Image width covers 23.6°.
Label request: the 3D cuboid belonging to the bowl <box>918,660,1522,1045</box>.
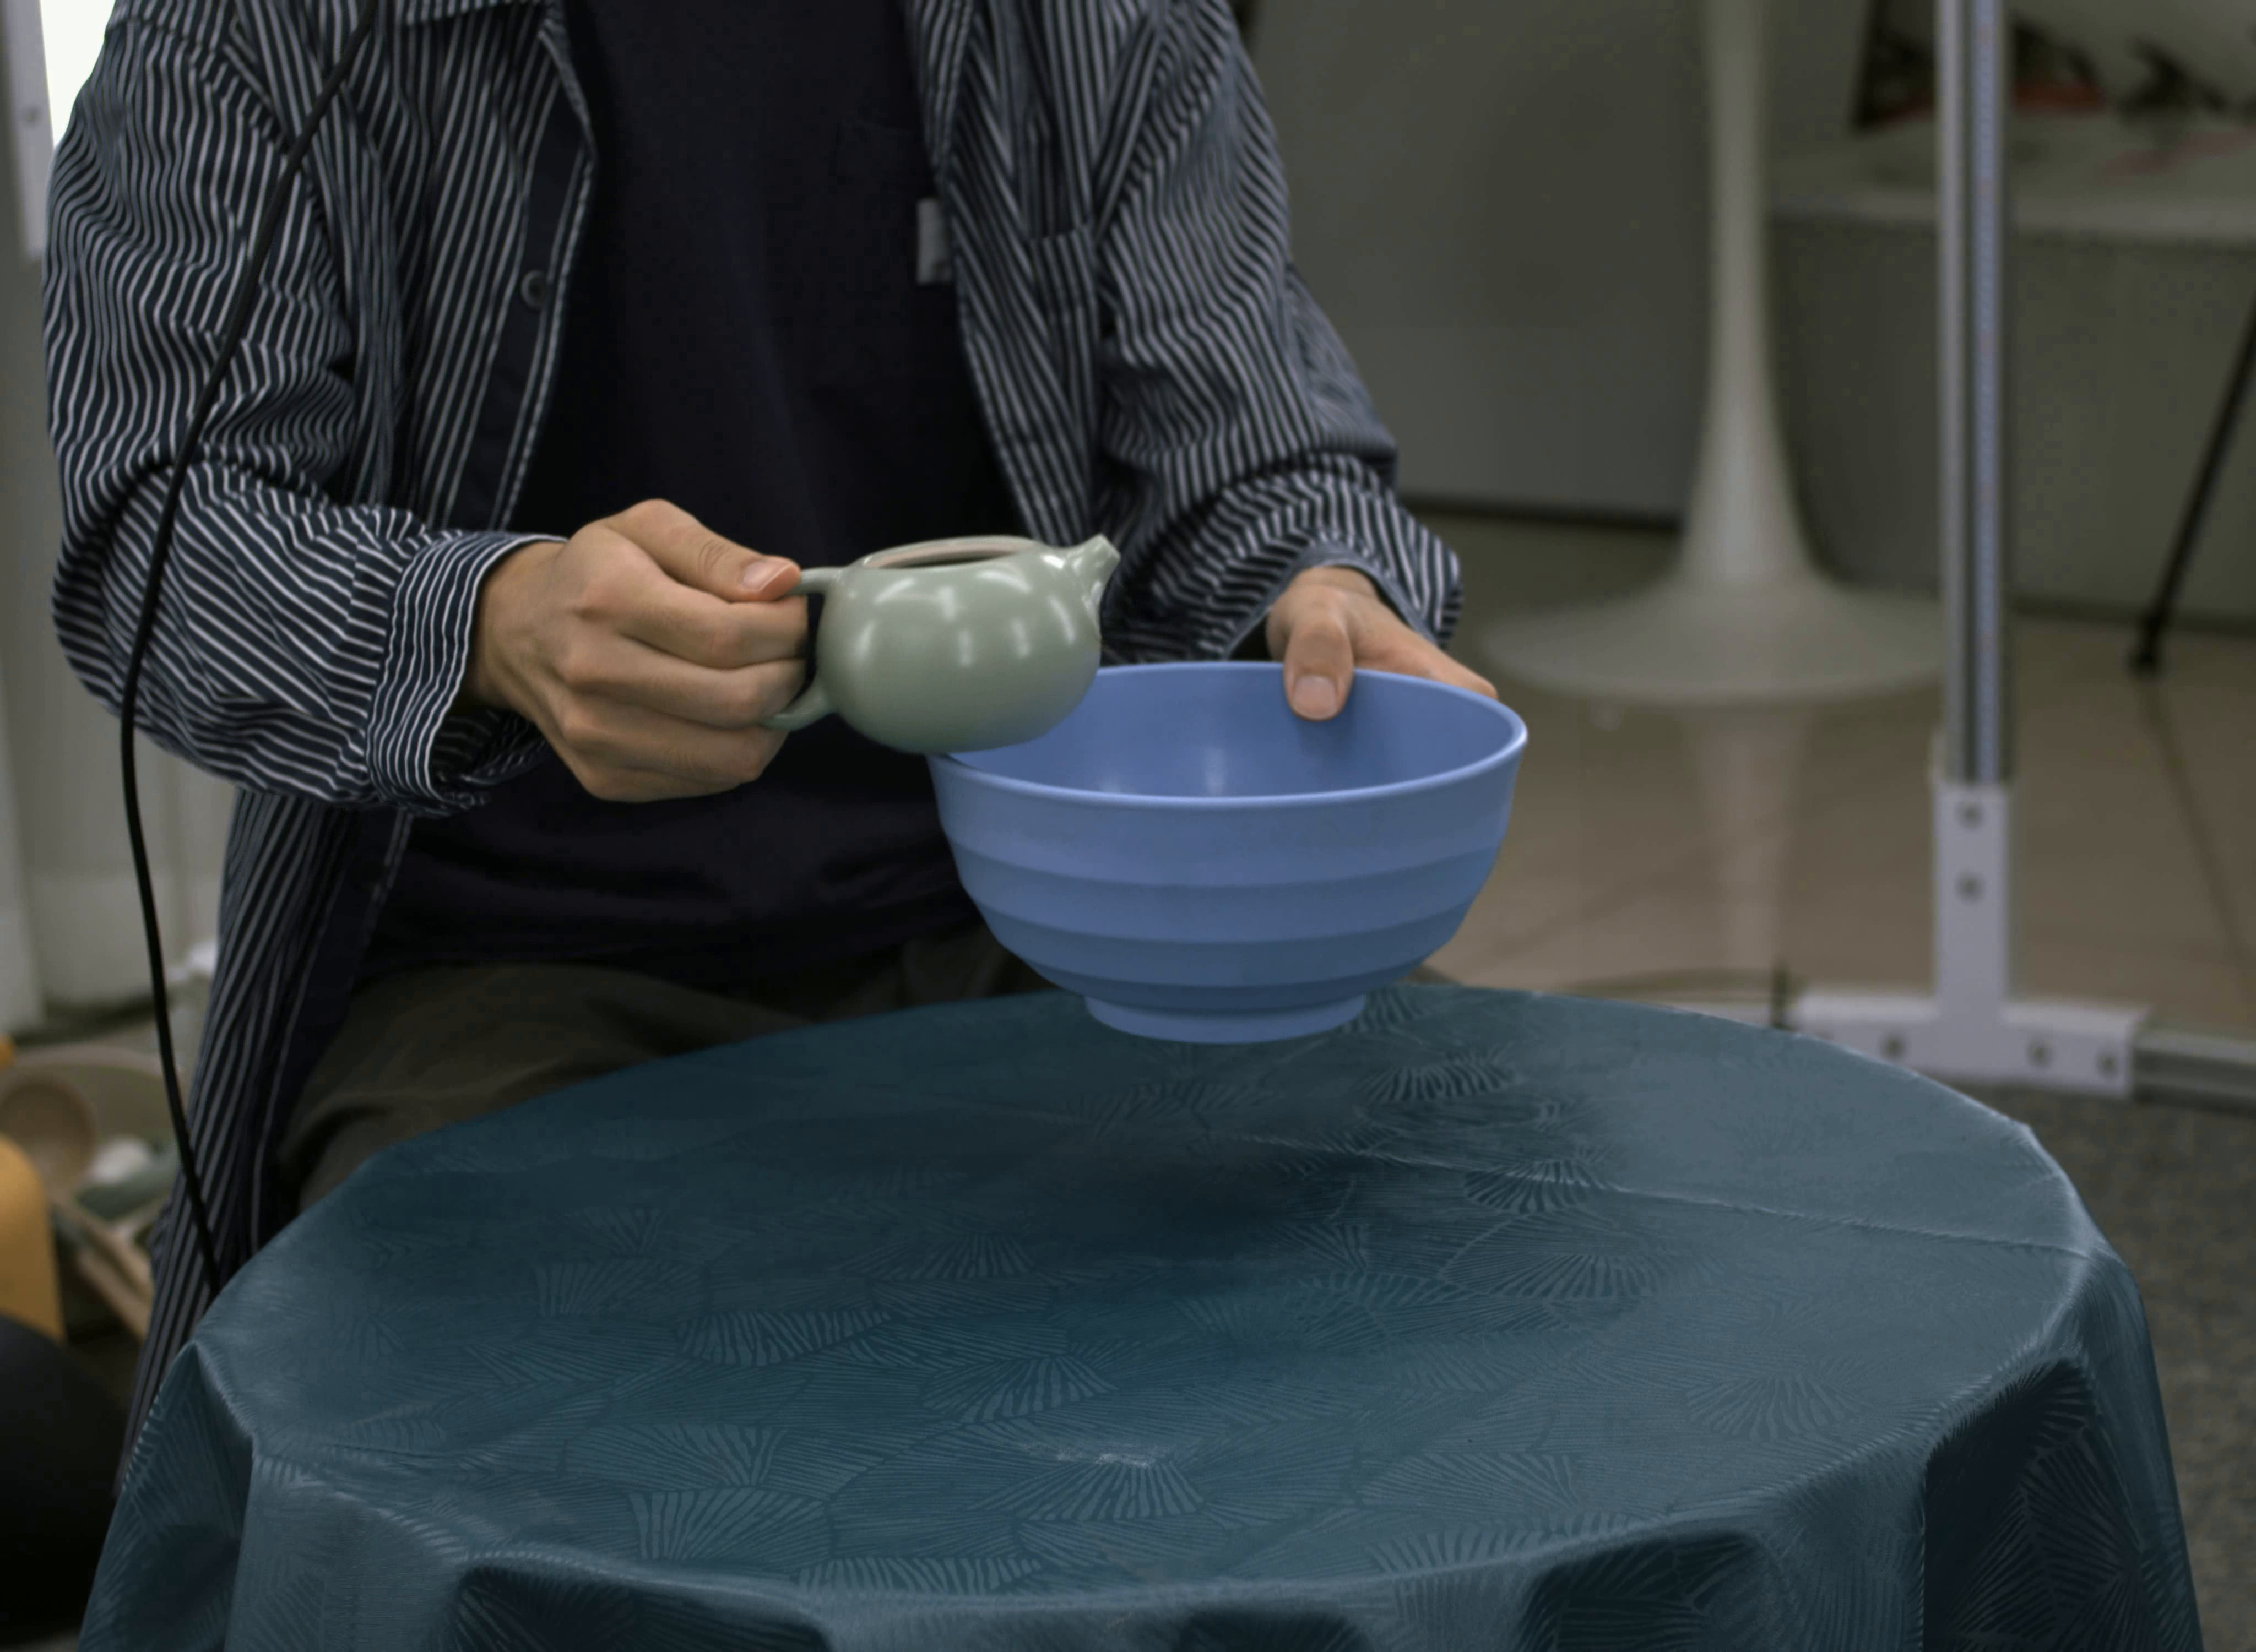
[{"bbox_3d":[0.030,0.012,1.740,0.194,0.096,0.197,-2,13,-1],"label":"bowl"}]

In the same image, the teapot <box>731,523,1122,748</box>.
[{"bbox_3d":[-0.062,-0.059,1.705,0.127,0.061,0.091,-7,12,1],"label":"teapot"}]
